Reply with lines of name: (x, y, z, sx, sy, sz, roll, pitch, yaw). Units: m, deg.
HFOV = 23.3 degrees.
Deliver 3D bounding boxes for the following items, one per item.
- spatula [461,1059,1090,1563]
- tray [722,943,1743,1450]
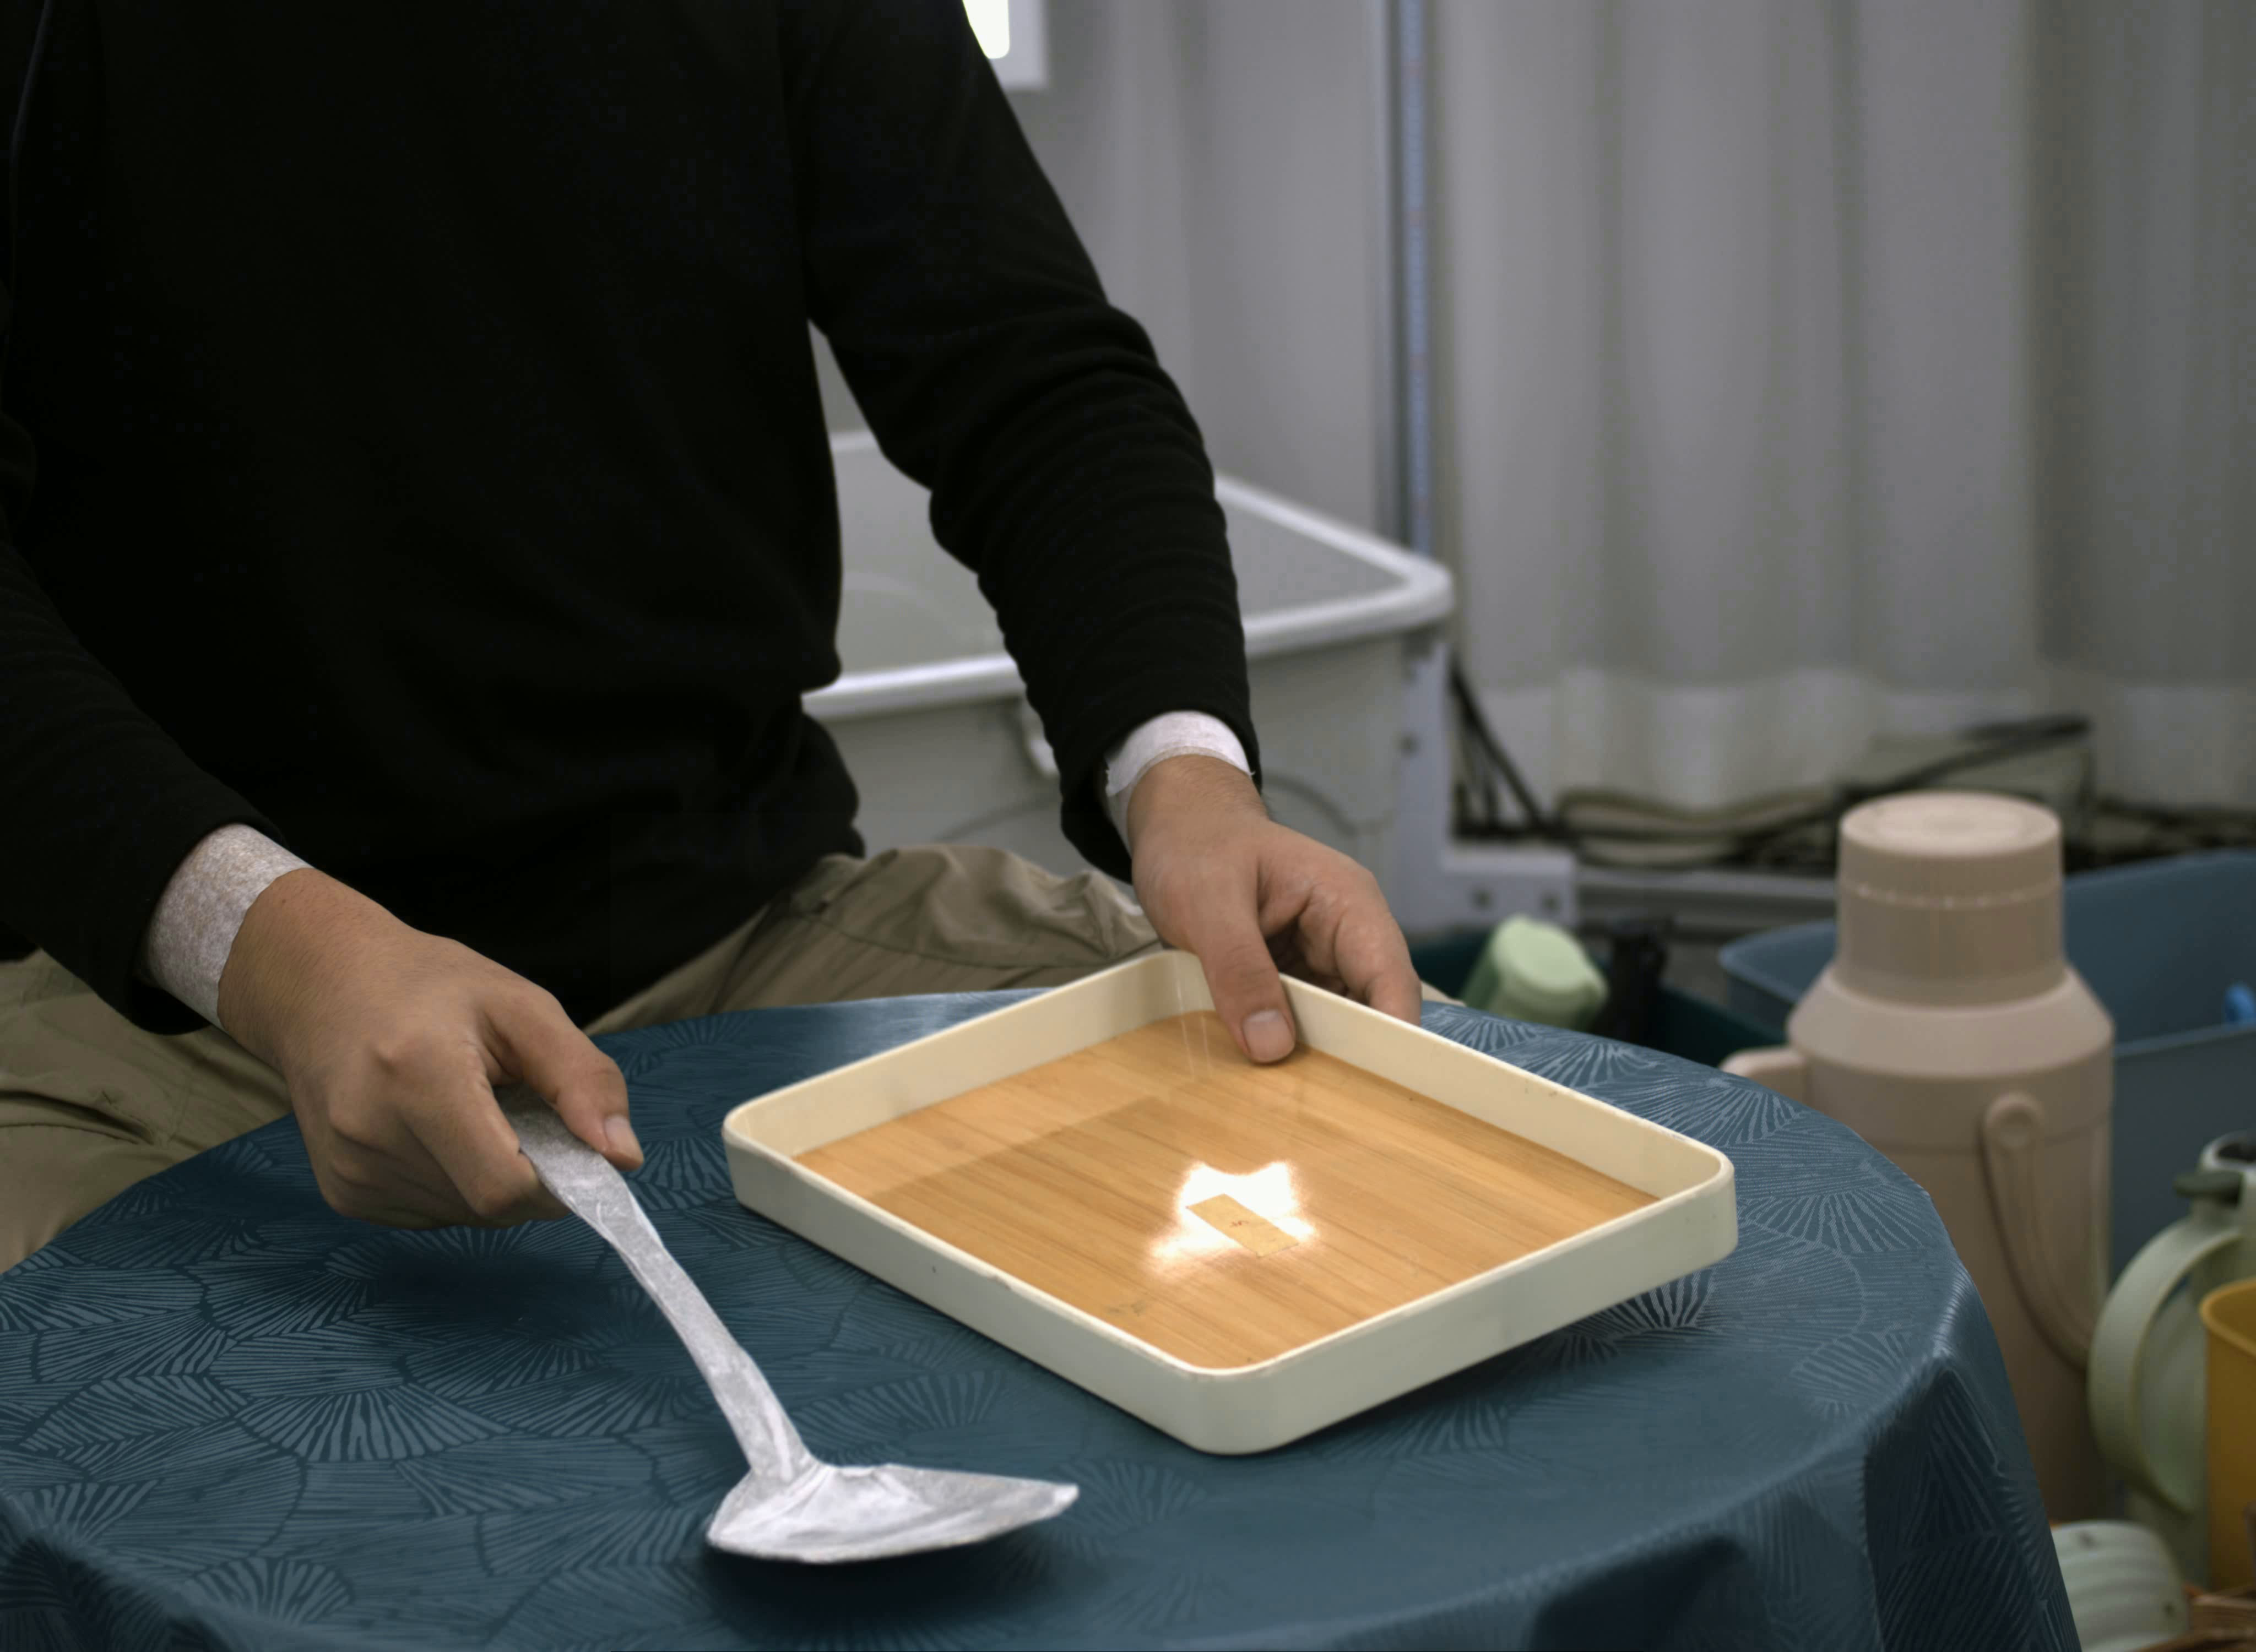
spatula: (-0.125, 0.128, 1.538, 0.098, 0.044, 0.369, -8, 27, -25)
tray: (0.025, 0.106, 1.645, 0.191, 0.027, 0.302, -19, 21, -28)
